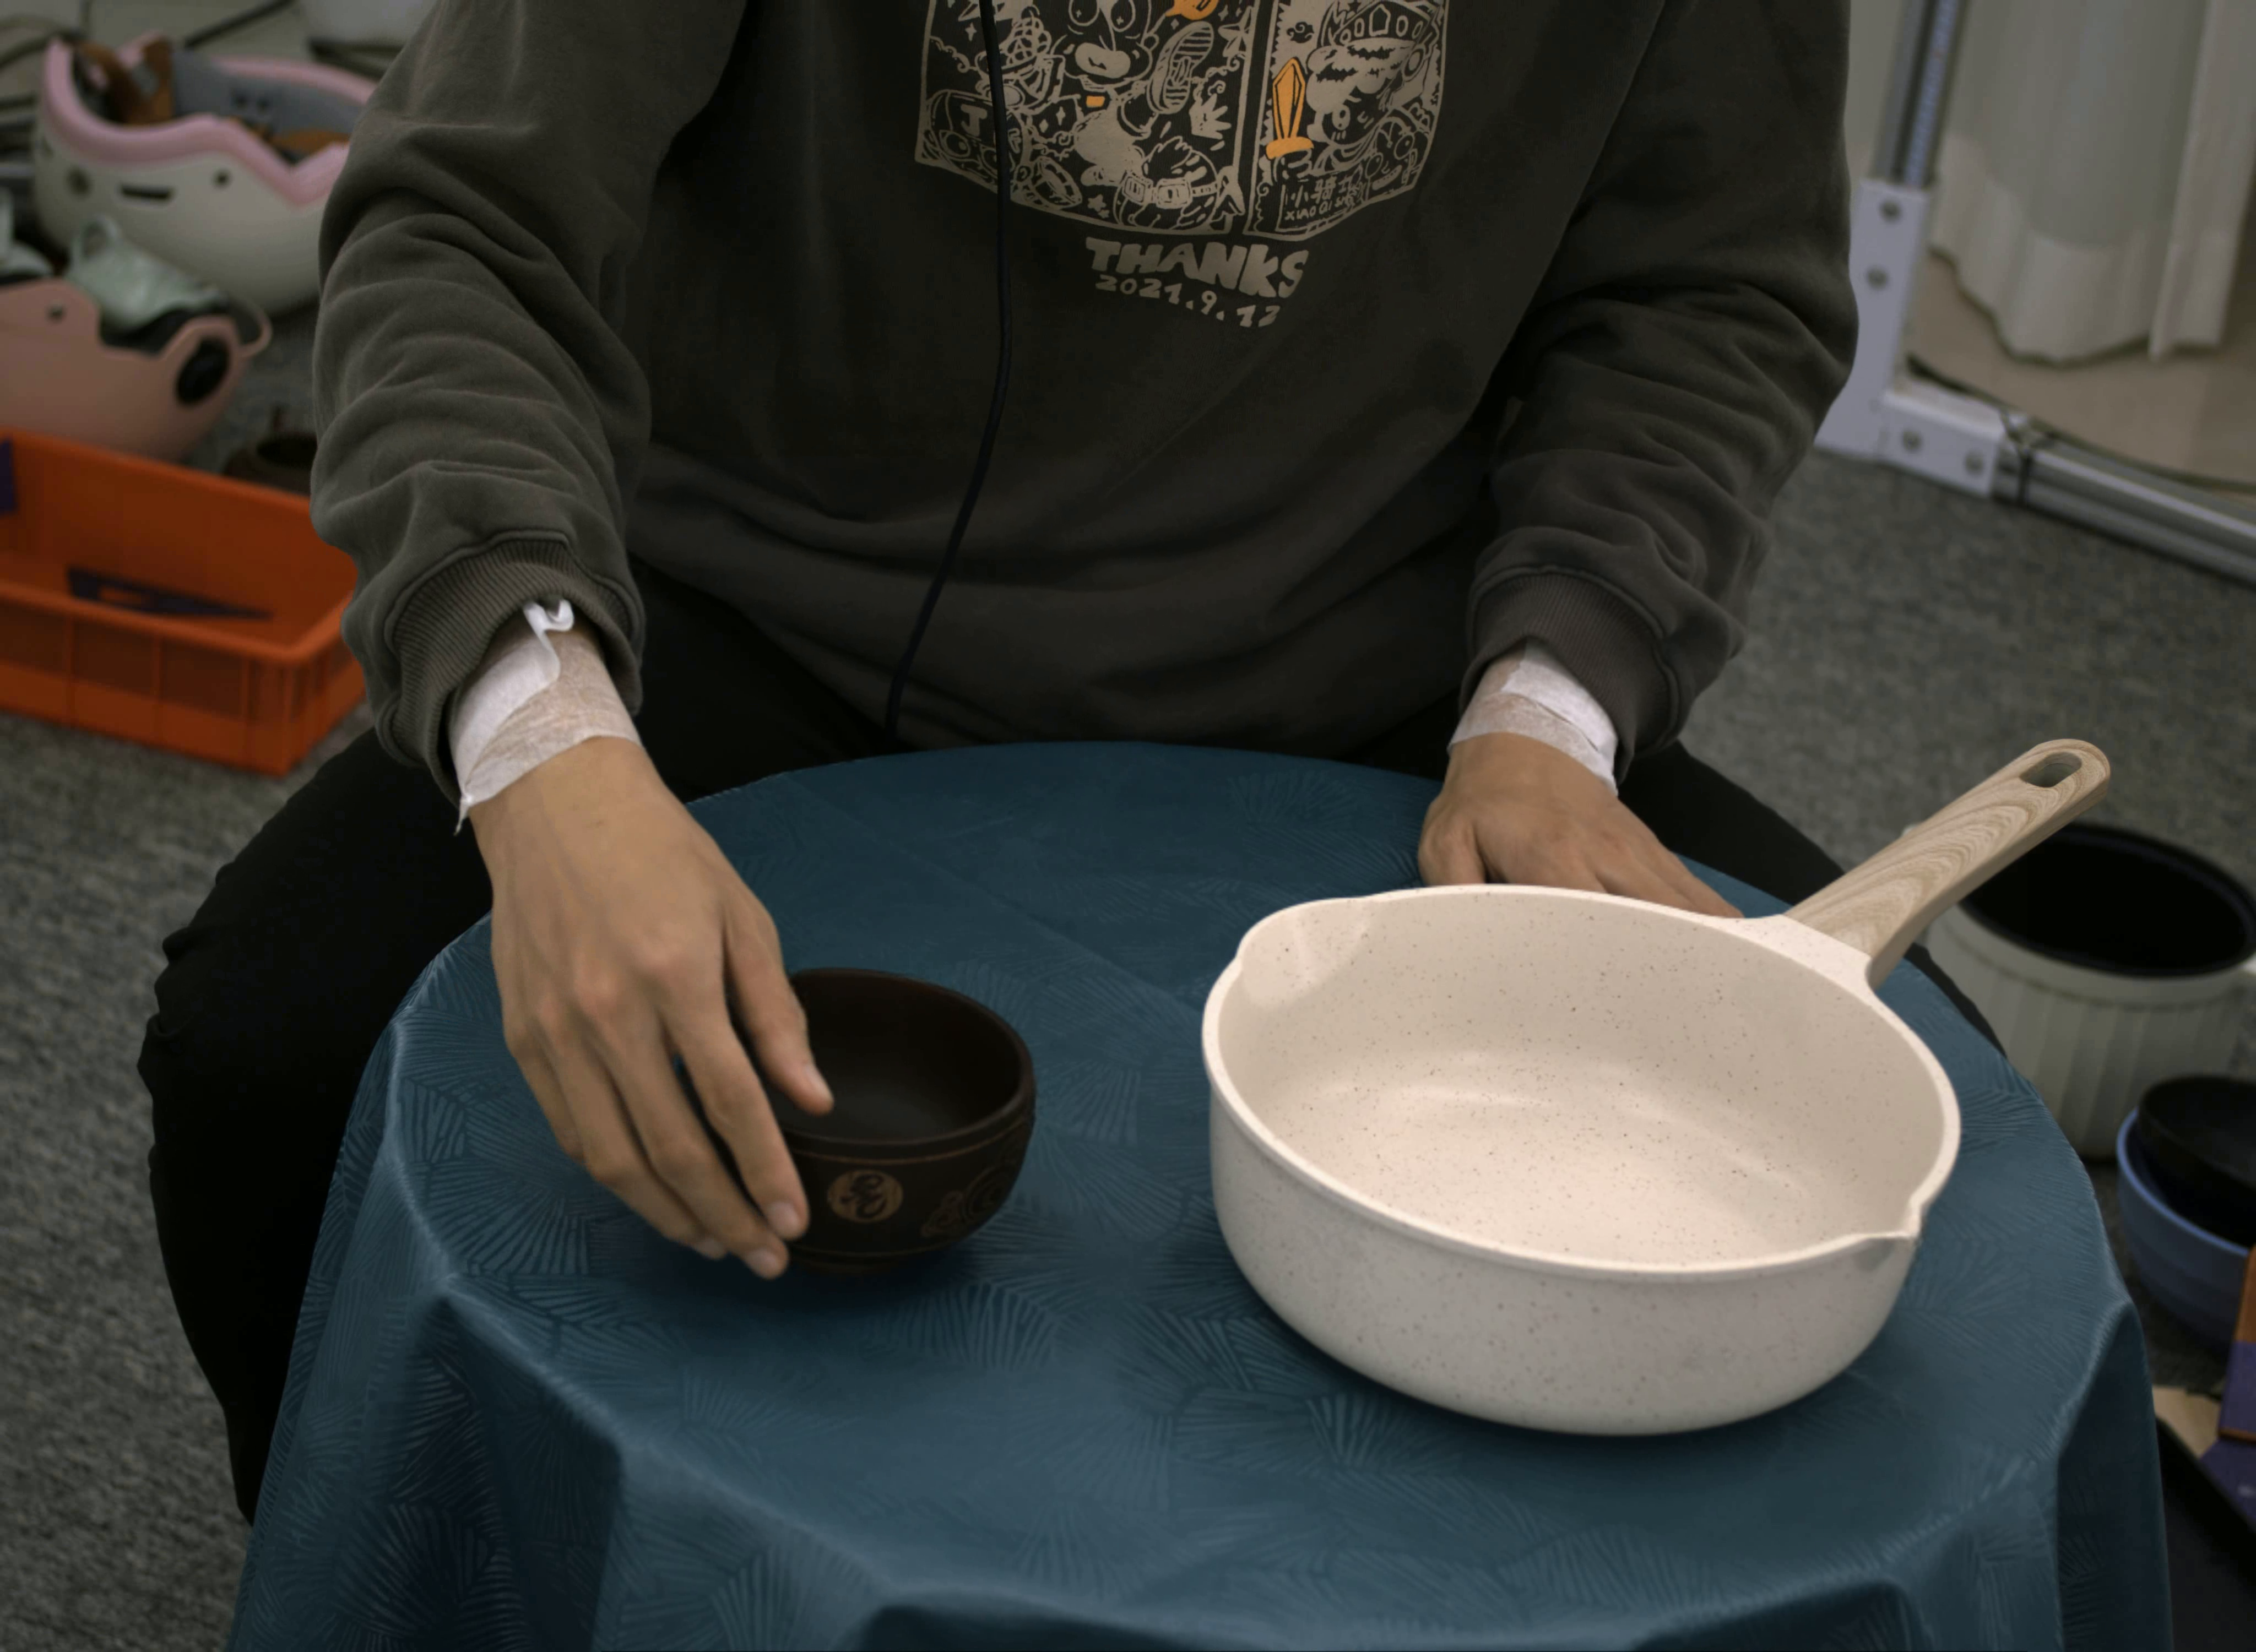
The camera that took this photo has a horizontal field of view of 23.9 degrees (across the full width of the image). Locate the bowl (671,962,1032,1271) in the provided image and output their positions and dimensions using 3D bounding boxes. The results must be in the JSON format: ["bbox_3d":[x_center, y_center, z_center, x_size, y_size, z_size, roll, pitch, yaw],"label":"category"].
[{"bbox_3d":[-0.092,0.102,1.746,0.117,0.069,0.119,4,28,-2],"label":"bowl"}]

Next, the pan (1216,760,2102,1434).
[{"bbox_3d":[0.209,0.083,1.822,0.265,0.101,0.433,24,31,34],"label":"pan"}]
